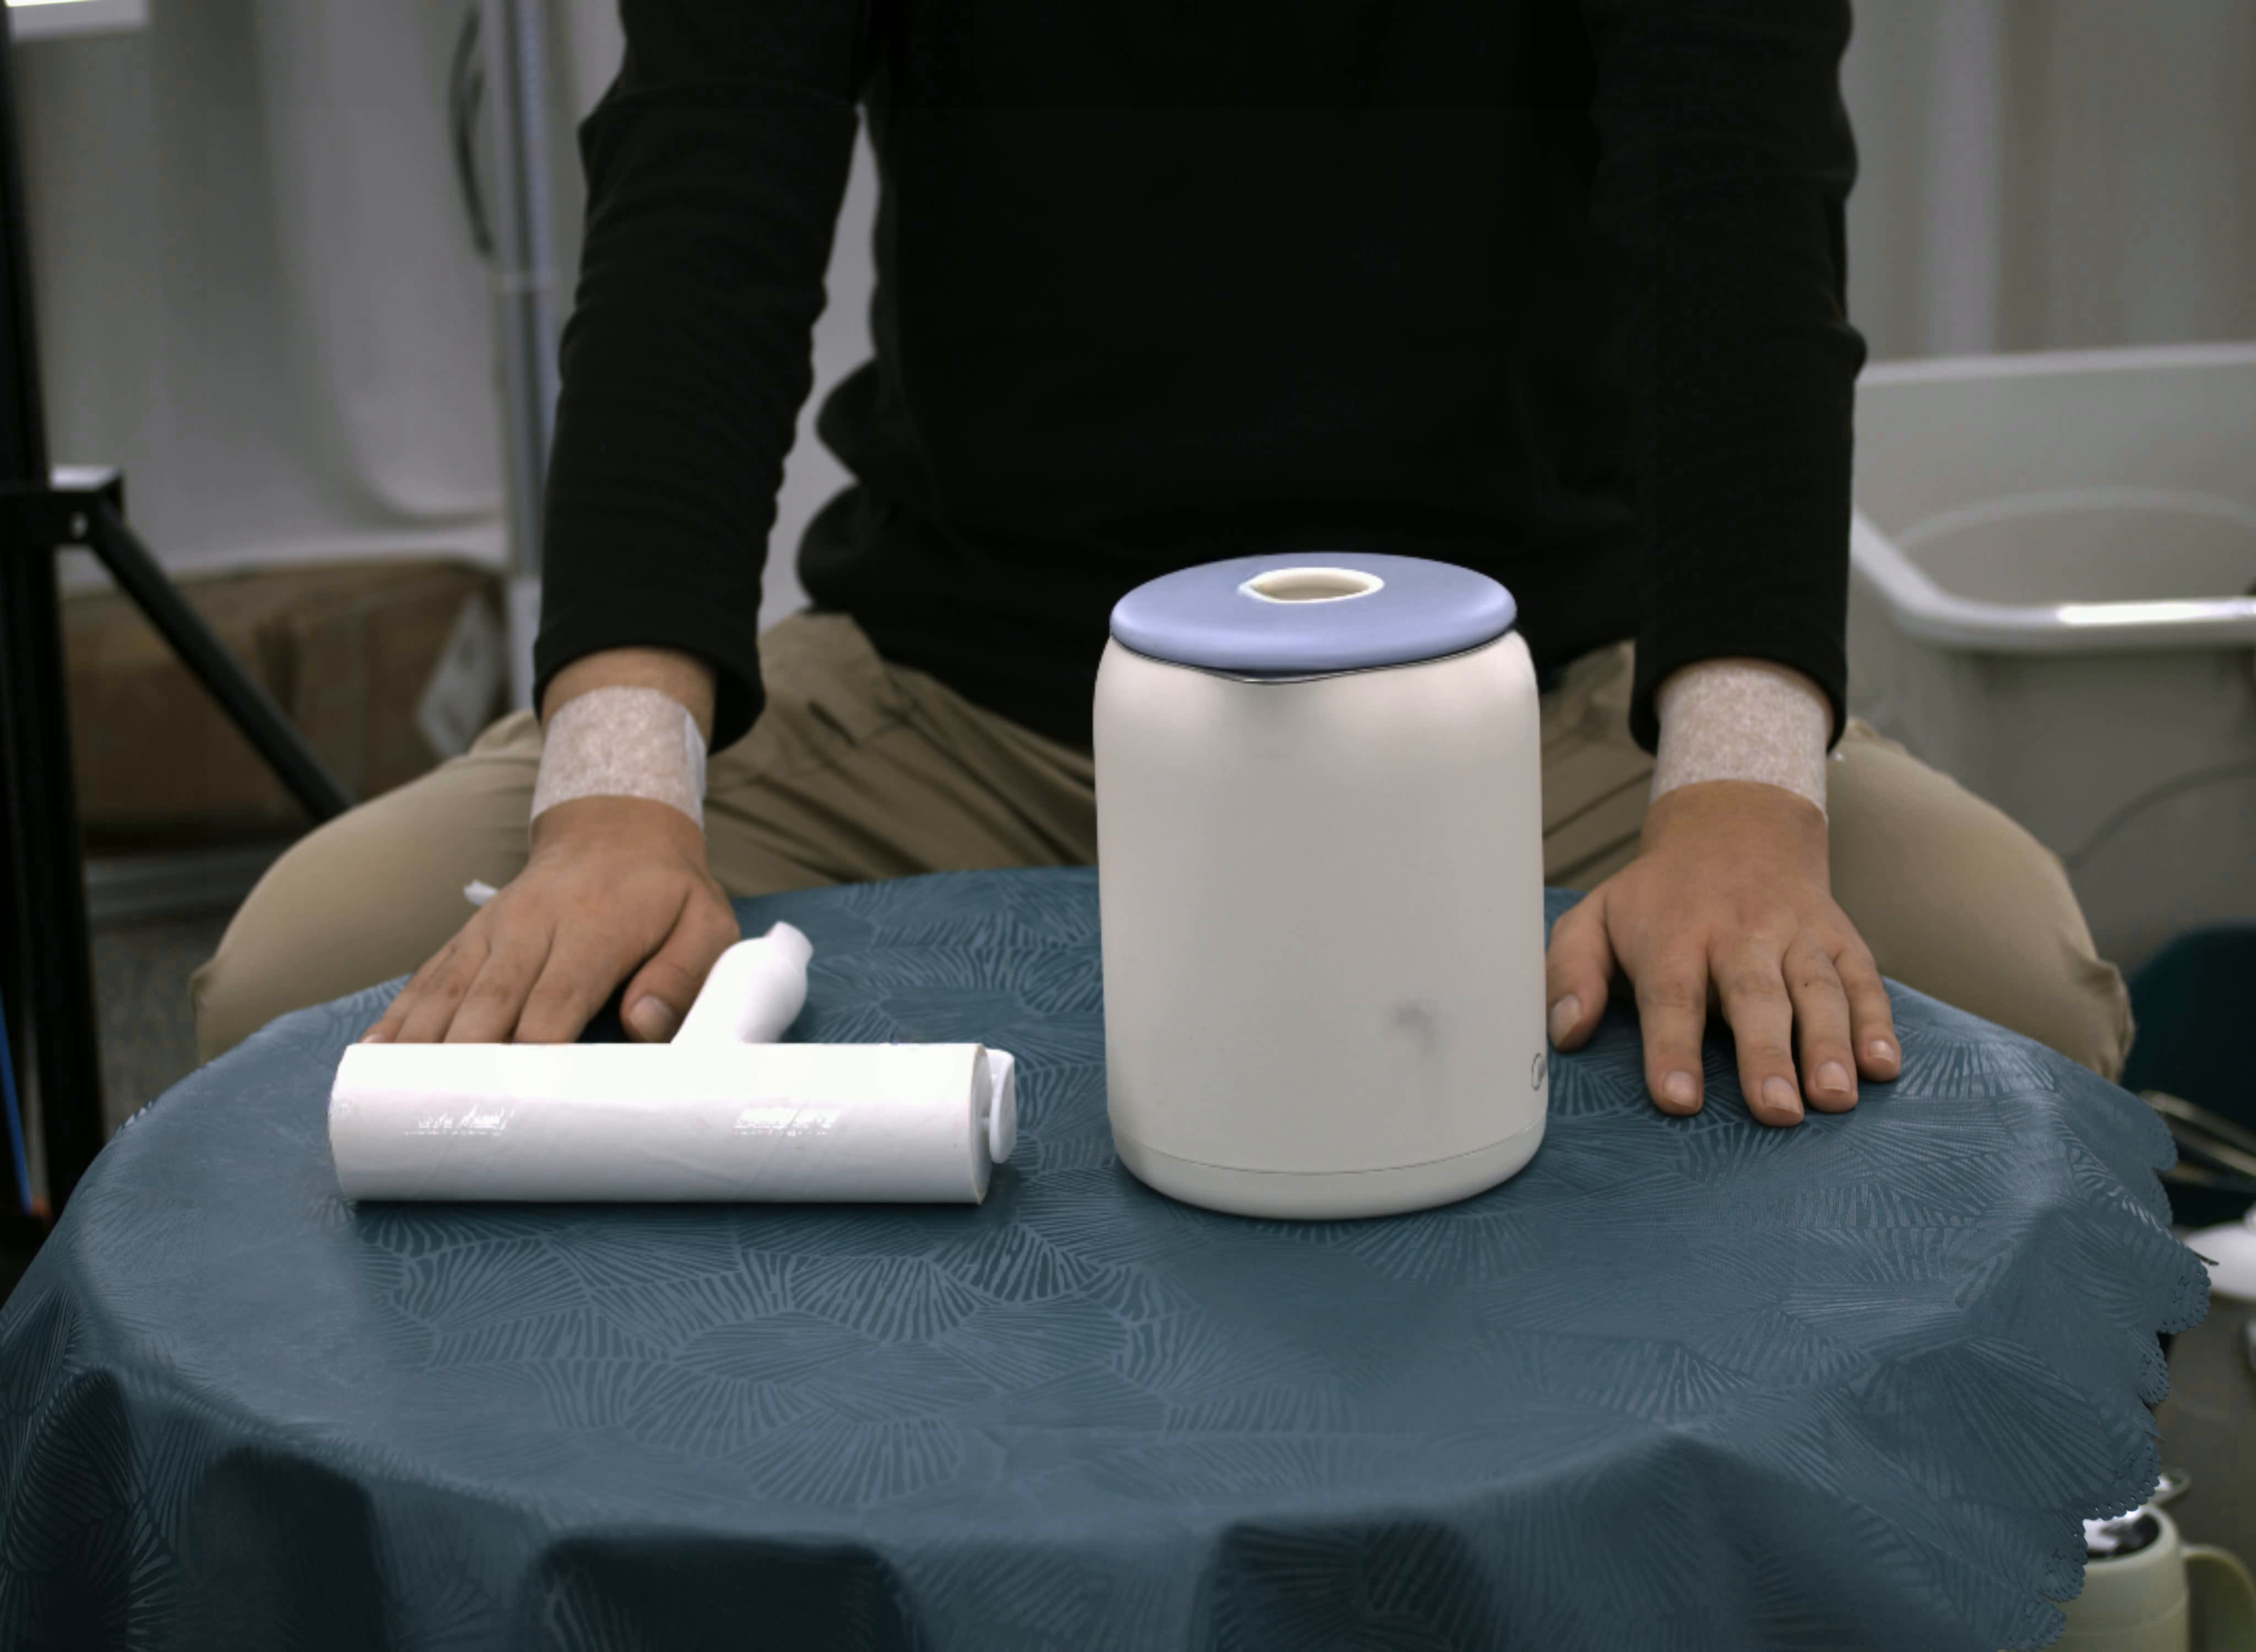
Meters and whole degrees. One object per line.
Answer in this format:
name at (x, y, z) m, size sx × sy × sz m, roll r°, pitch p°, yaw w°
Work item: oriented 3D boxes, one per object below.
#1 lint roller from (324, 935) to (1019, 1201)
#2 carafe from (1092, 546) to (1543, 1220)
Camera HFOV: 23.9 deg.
lint roller at (-0.127, 0.064, 1.655) m, size 0.203 × 0.048 × 0.225 m, roll -2°, pitch 15°, yaw 7°
carafe at (0.061, 0.010, 1.581) m, size 0.133 × 0.182 × 0.190 m, roll 2°, pitch 14°, yaw 12°
